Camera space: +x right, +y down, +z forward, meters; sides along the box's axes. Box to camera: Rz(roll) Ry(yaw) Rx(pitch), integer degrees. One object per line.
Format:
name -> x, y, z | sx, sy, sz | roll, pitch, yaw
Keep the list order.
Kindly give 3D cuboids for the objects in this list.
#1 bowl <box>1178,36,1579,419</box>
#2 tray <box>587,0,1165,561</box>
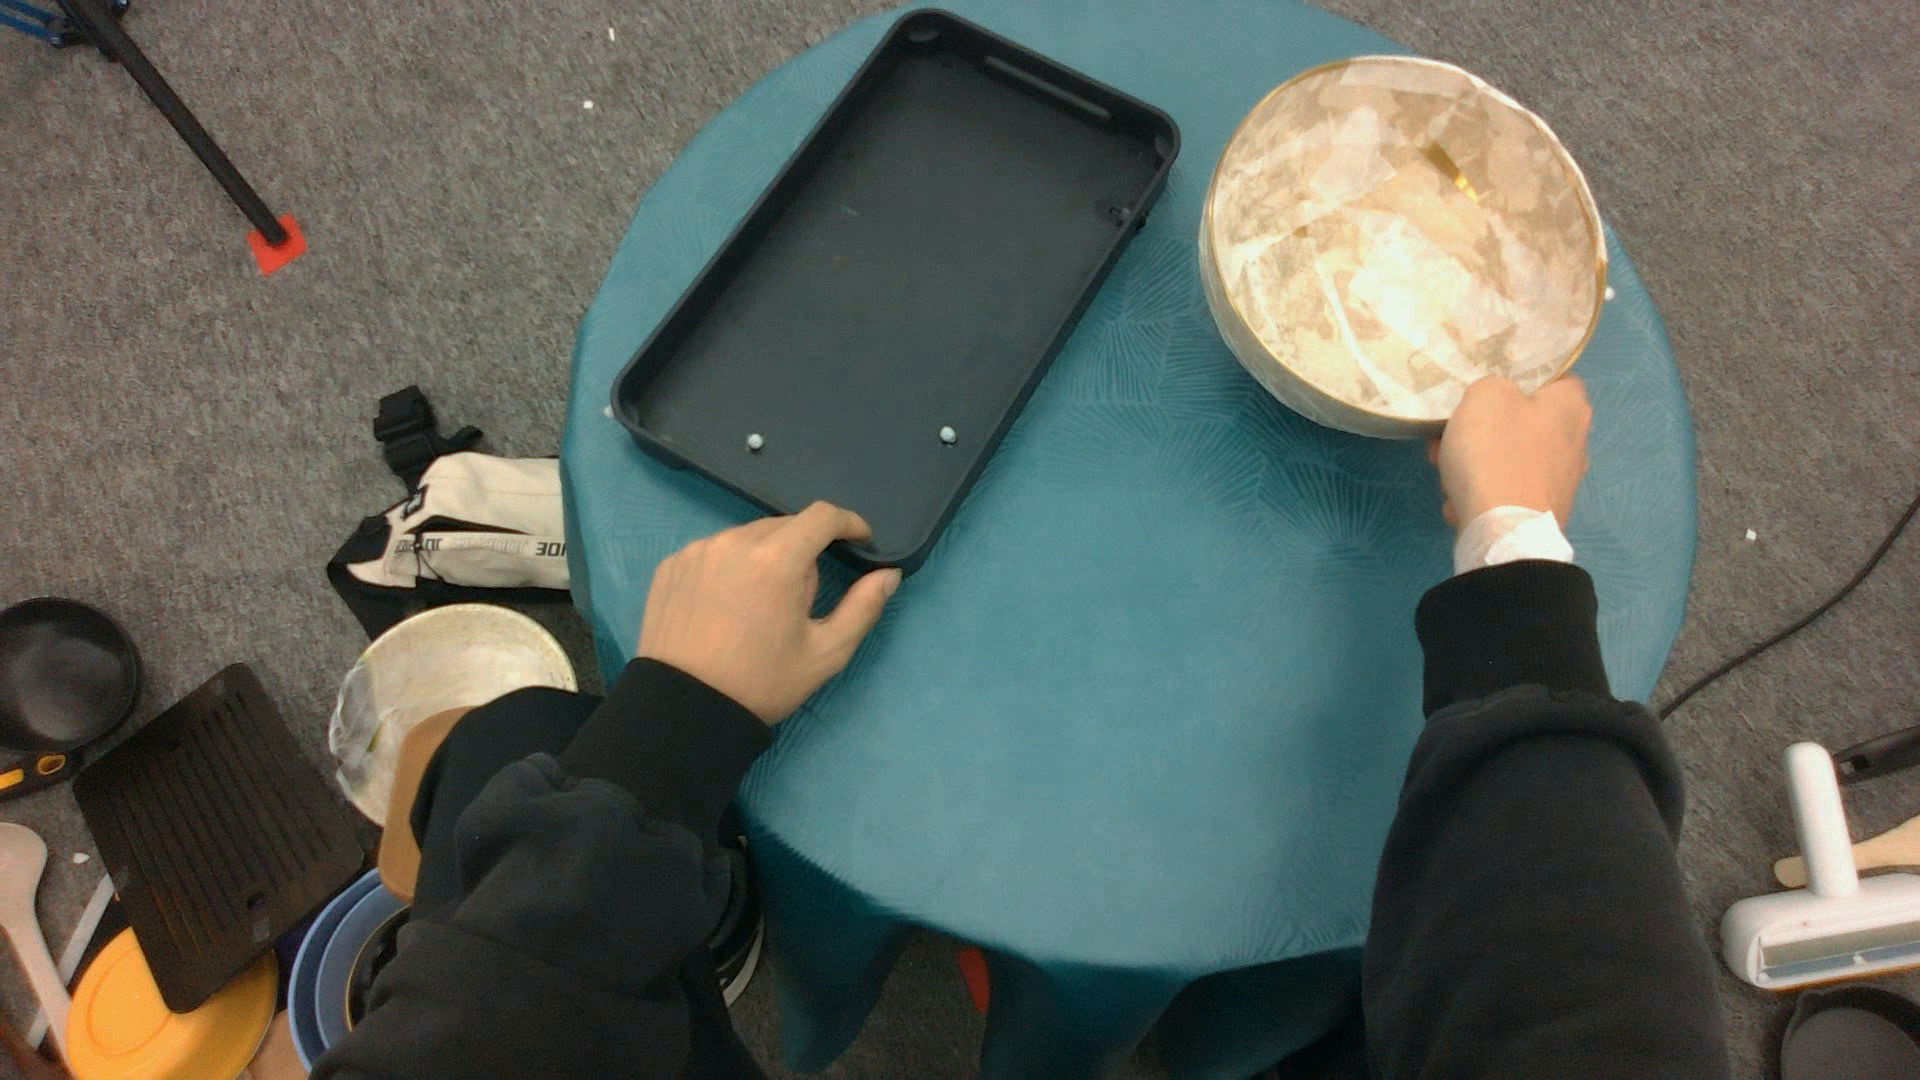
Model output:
bowl -> 0.200, -0.147, 0.716 | 0.215, 0.094, 0.215 | 2, 74, -7
tray -> -0.037, -0.152, 0.747 | 0.184, 0.037, 0.319 | 30, 68, 11
